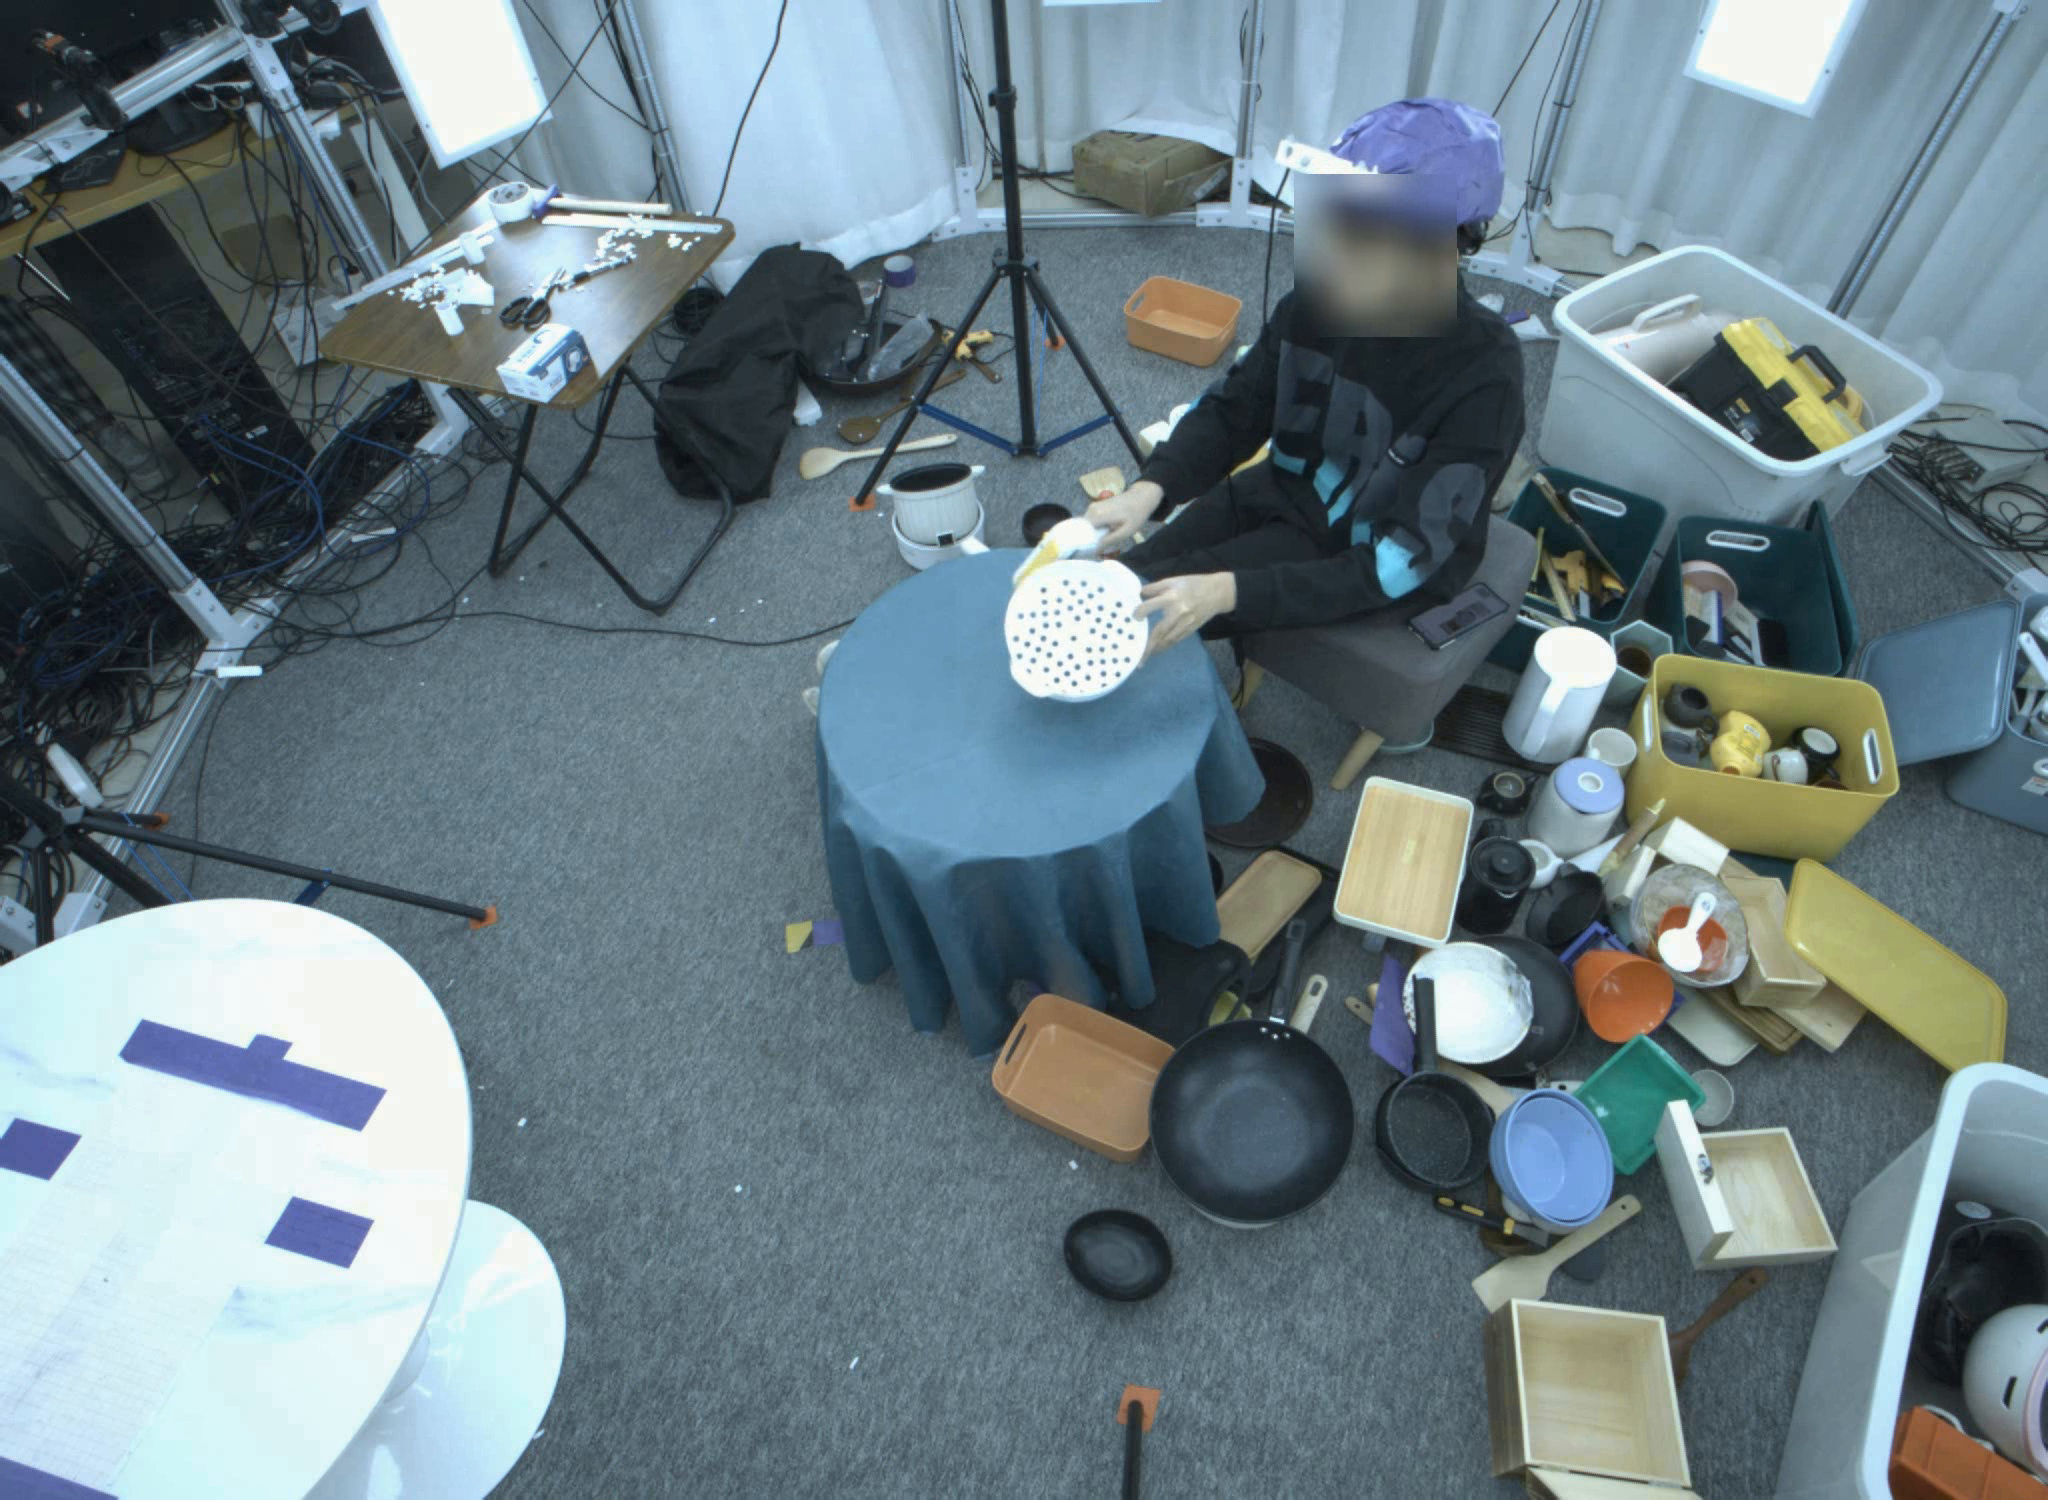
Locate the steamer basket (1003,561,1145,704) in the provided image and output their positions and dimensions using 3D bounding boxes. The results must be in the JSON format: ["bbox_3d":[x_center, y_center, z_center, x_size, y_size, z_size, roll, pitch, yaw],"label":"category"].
[{"bbox_3d":[0.069,-0.165,1.759,0.201,0.069,0.231,41,79,2],"label":"steamer basket"}]

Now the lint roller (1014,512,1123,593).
[{"bbox_3d":[0.087,-0.307,1.846,0.195,0.191,0.073,-24,76,-36],"label":"lint roller"}]
